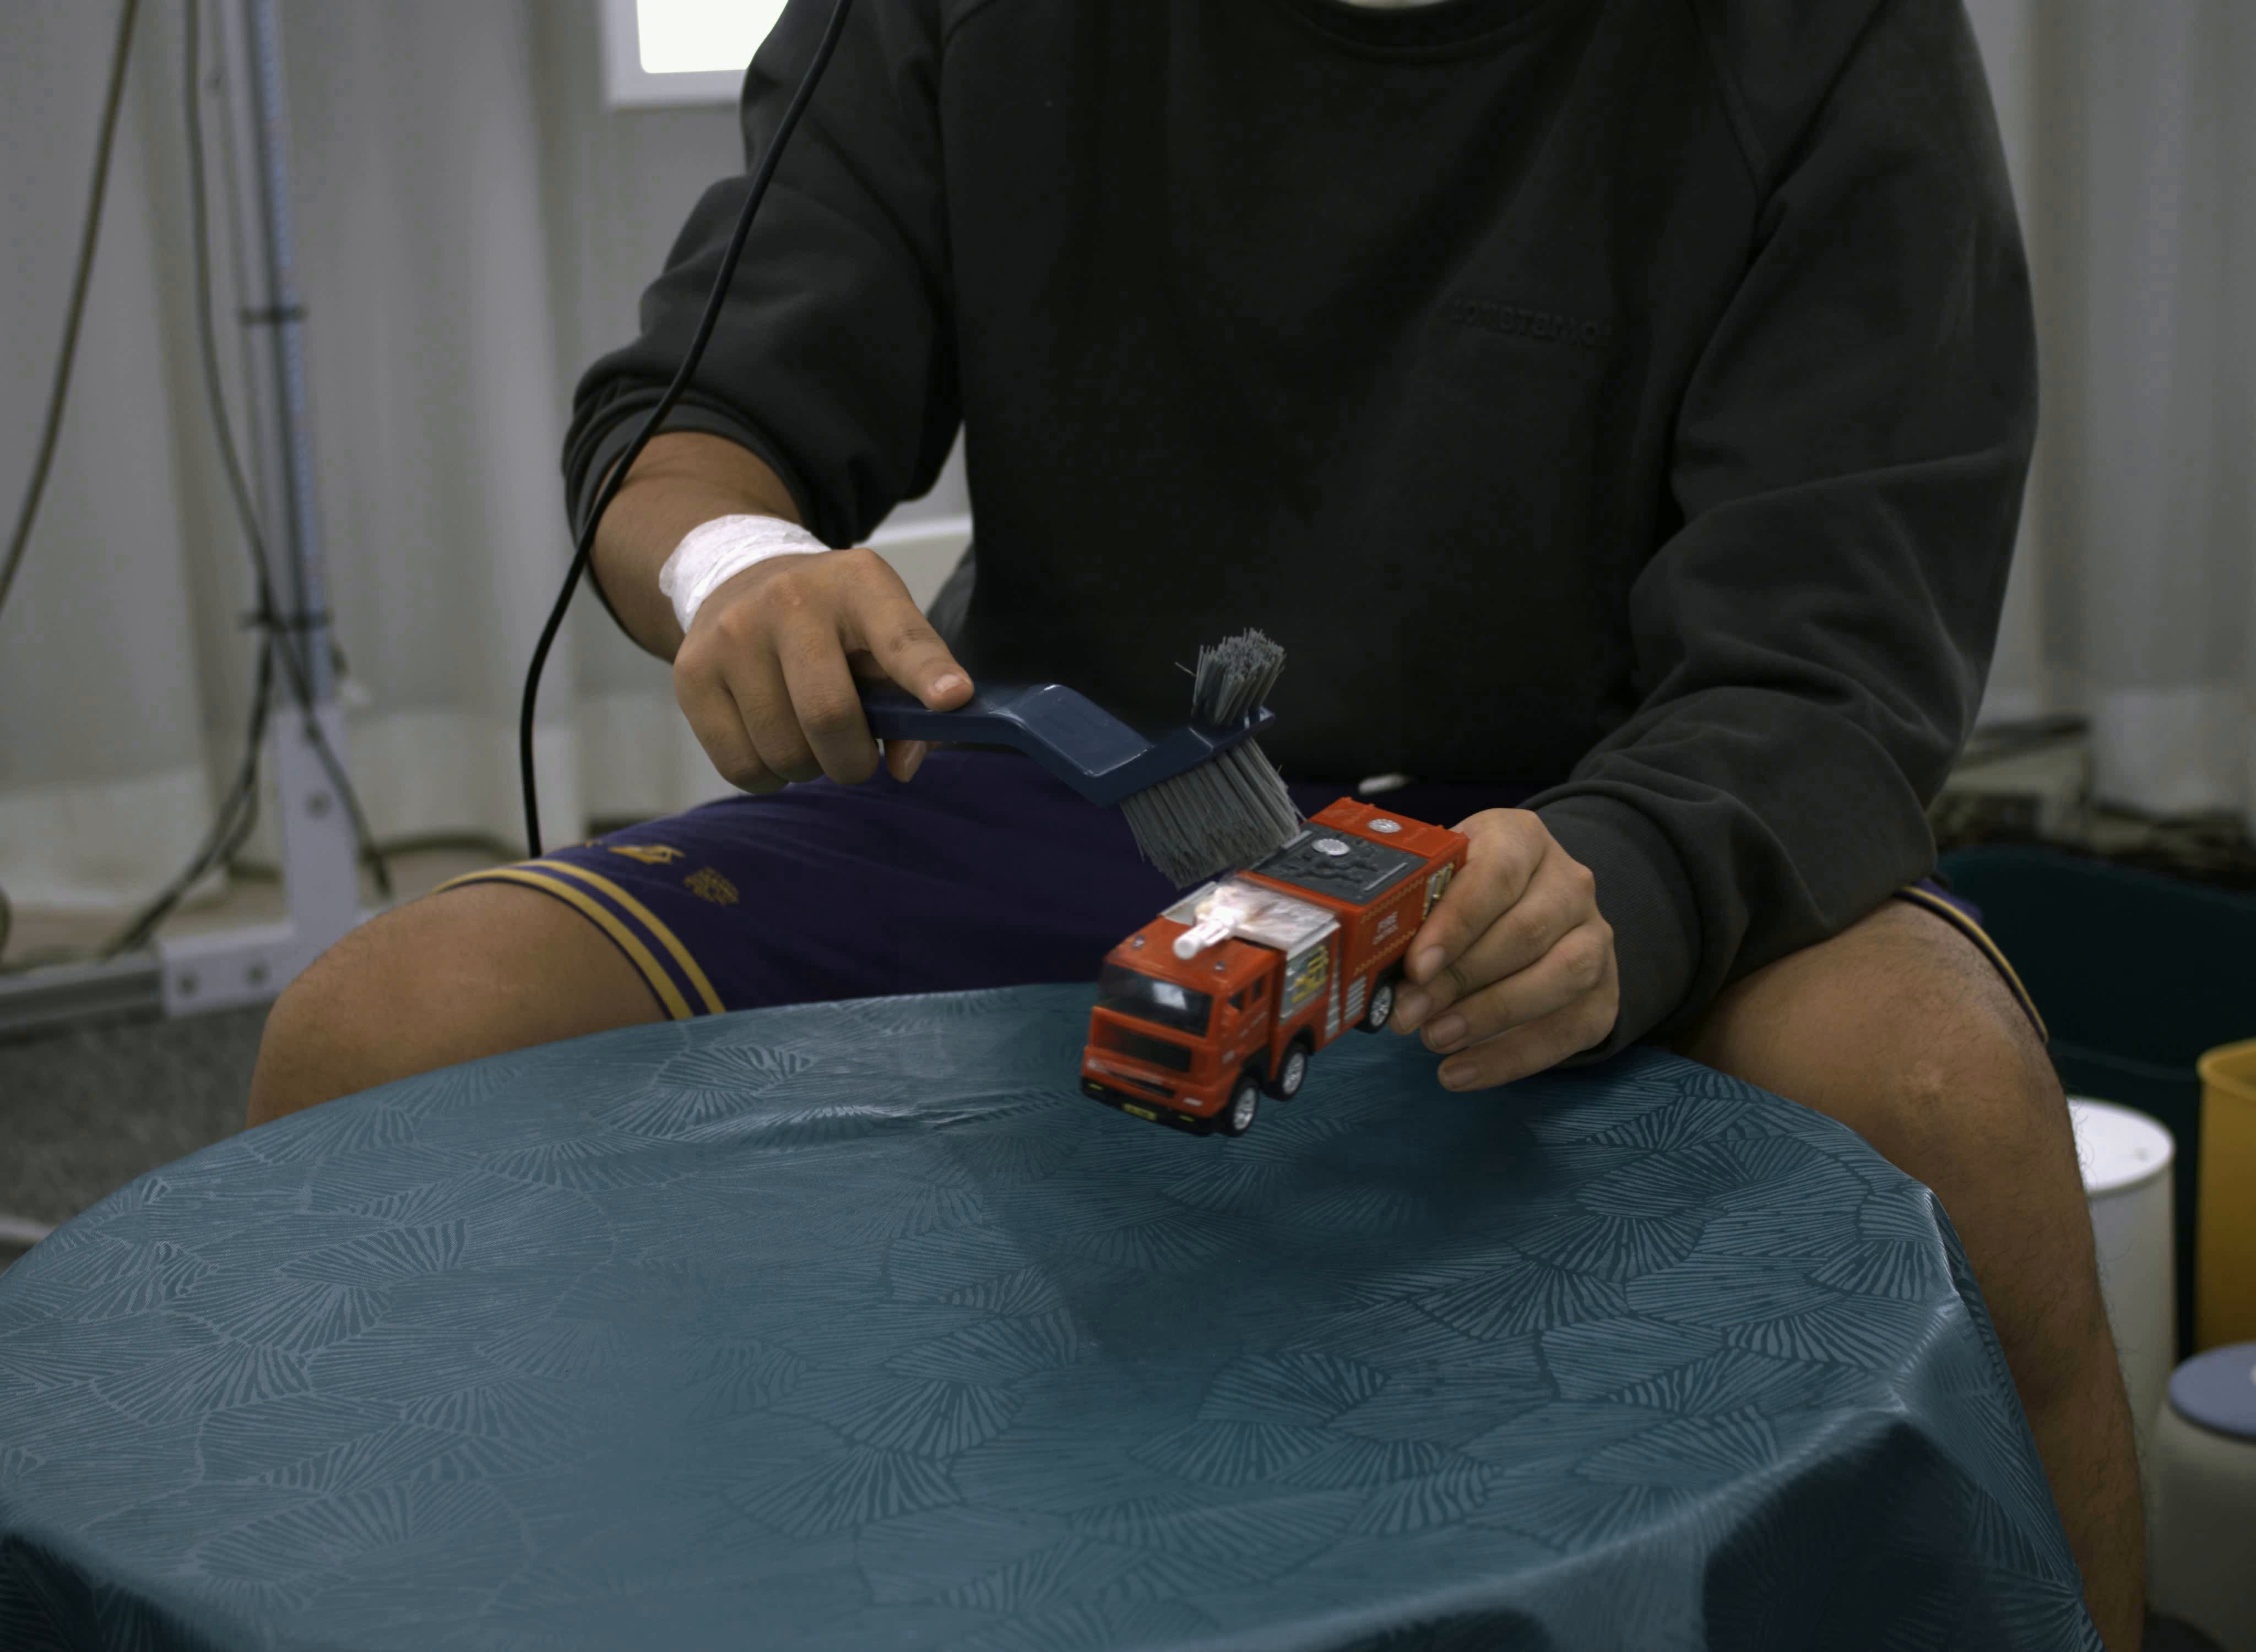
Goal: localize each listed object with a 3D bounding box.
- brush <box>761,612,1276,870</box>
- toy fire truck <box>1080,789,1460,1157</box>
[{"bbox_3d":[-0.040,-0.041,1.720,0.033,0.095,0.275,-34,28,-28],"label":"brush"},{"bbox_3d":[0.044,0.040,1.612,0.054,0.070,0.168,17,25,24],"label":"toy fire truck"}]
